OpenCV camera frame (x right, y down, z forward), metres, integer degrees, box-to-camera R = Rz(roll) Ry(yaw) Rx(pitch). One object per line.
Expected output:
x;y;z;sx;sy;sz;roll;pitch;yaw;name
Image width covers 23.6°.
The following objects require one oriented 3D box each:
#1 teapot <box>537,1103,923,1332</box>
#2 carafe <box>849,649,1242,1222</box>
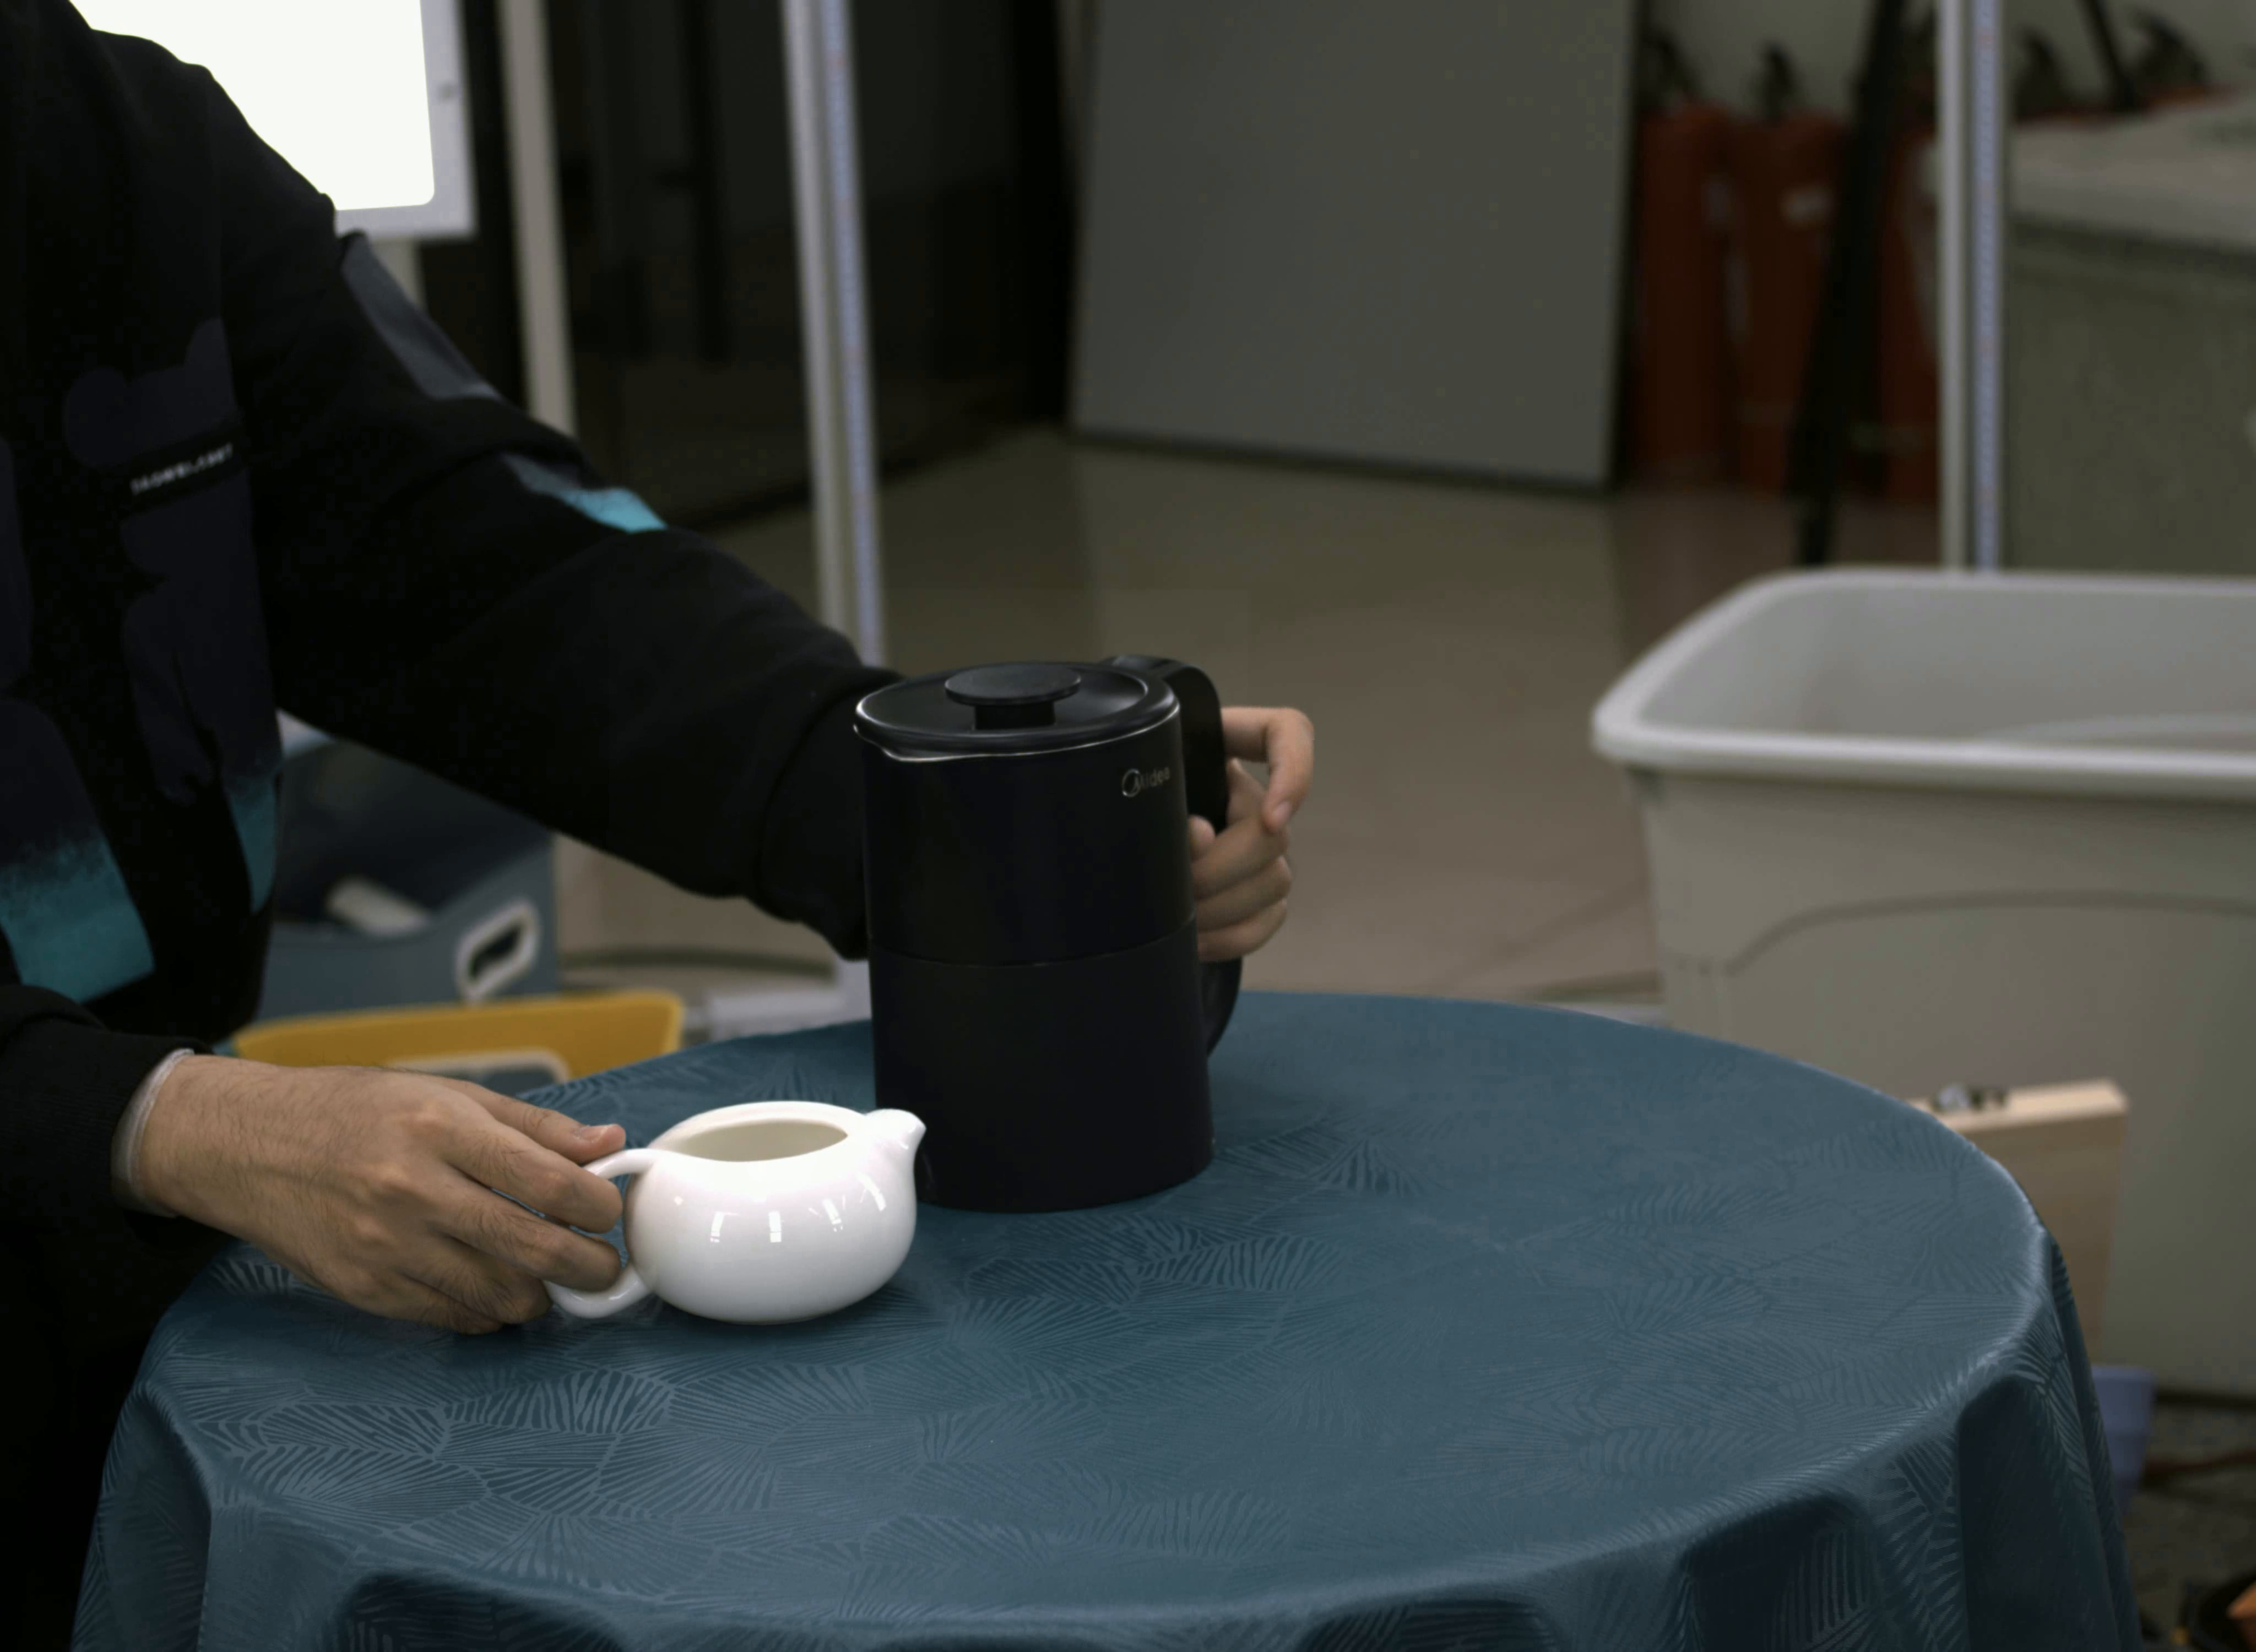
-0.122;0.124;1.683;0.124;0.057;0.094;-10;19;-20;teapot
-0.021;0.026;1.805;0.115;0.175;0.169;3;18;33;carafe
